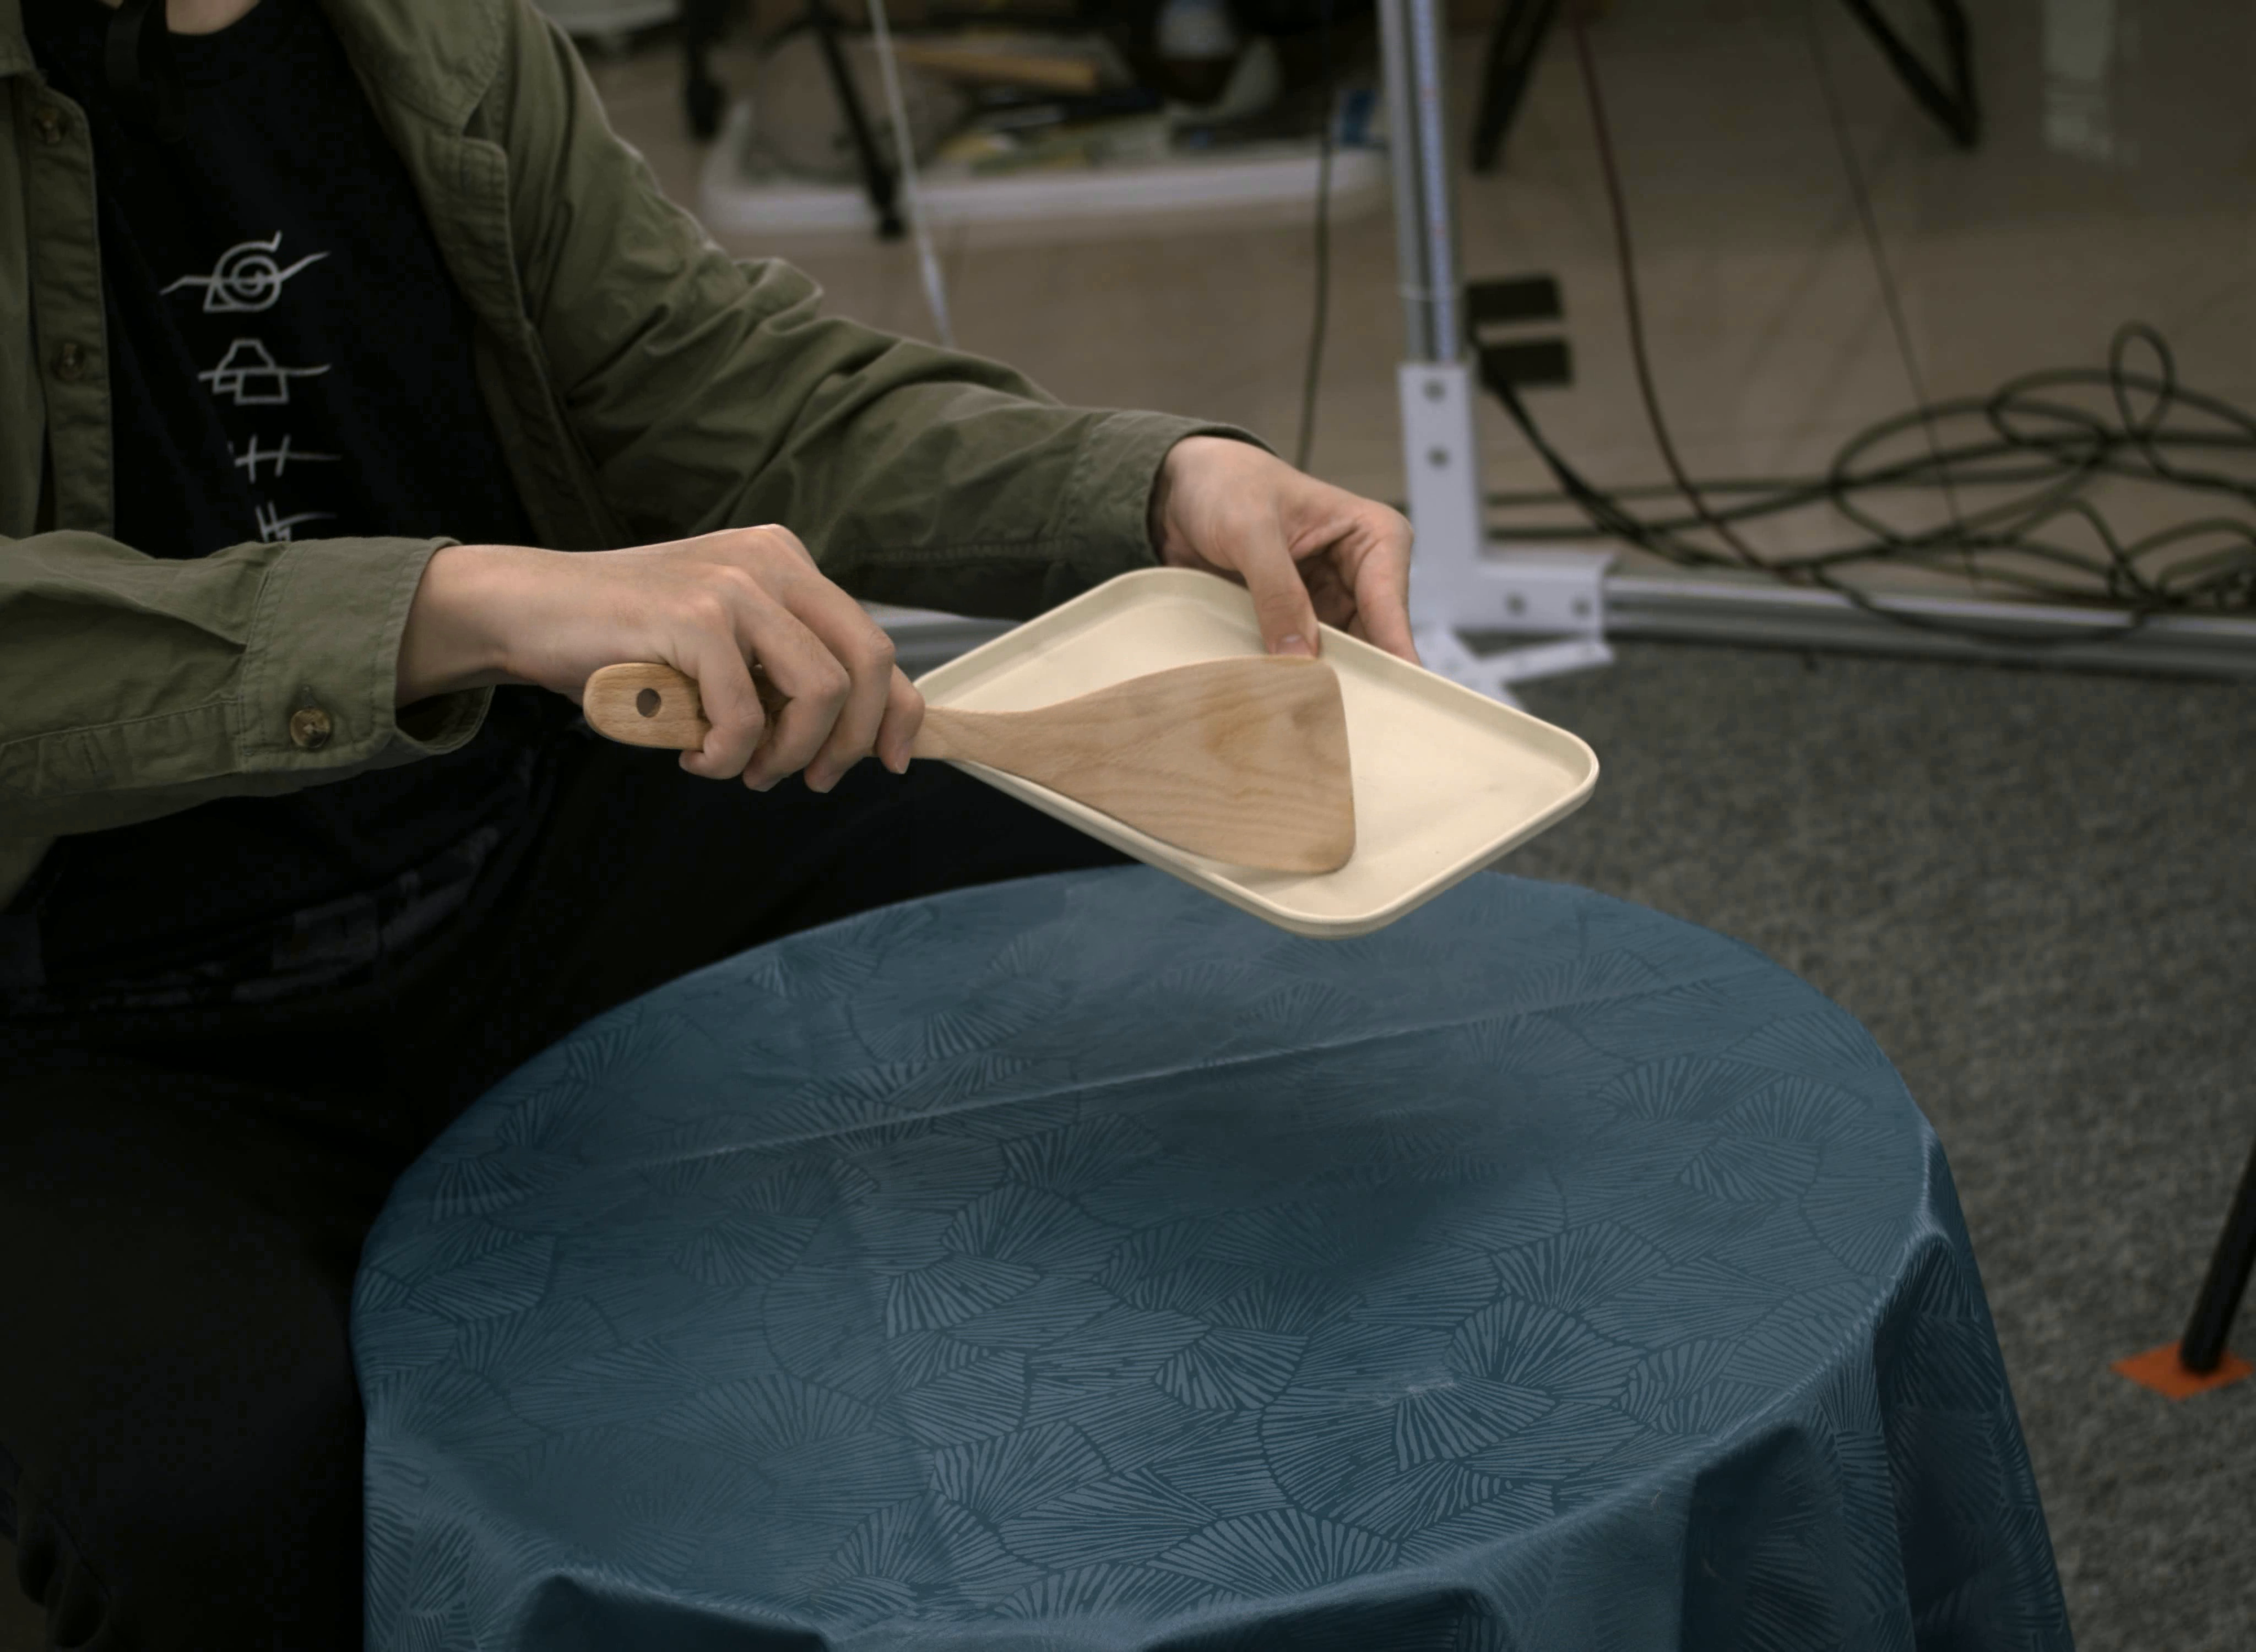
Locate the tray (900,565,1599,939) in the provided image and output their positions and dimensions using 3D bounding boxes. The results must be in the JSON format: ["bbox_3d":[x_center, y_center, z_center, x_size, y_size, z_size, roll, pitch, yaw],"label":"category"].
[{"bbox_3d":[0.045,-0.029,2.139,0.237,0.018,0.170,27,40,35],"label":"tray"}]

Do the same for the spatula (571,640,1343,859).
[{"bbox_3d":[-0.054,-0.034,1.986,0.328,0.080,0.016,3,1,-38],"label":"spatula"}]
